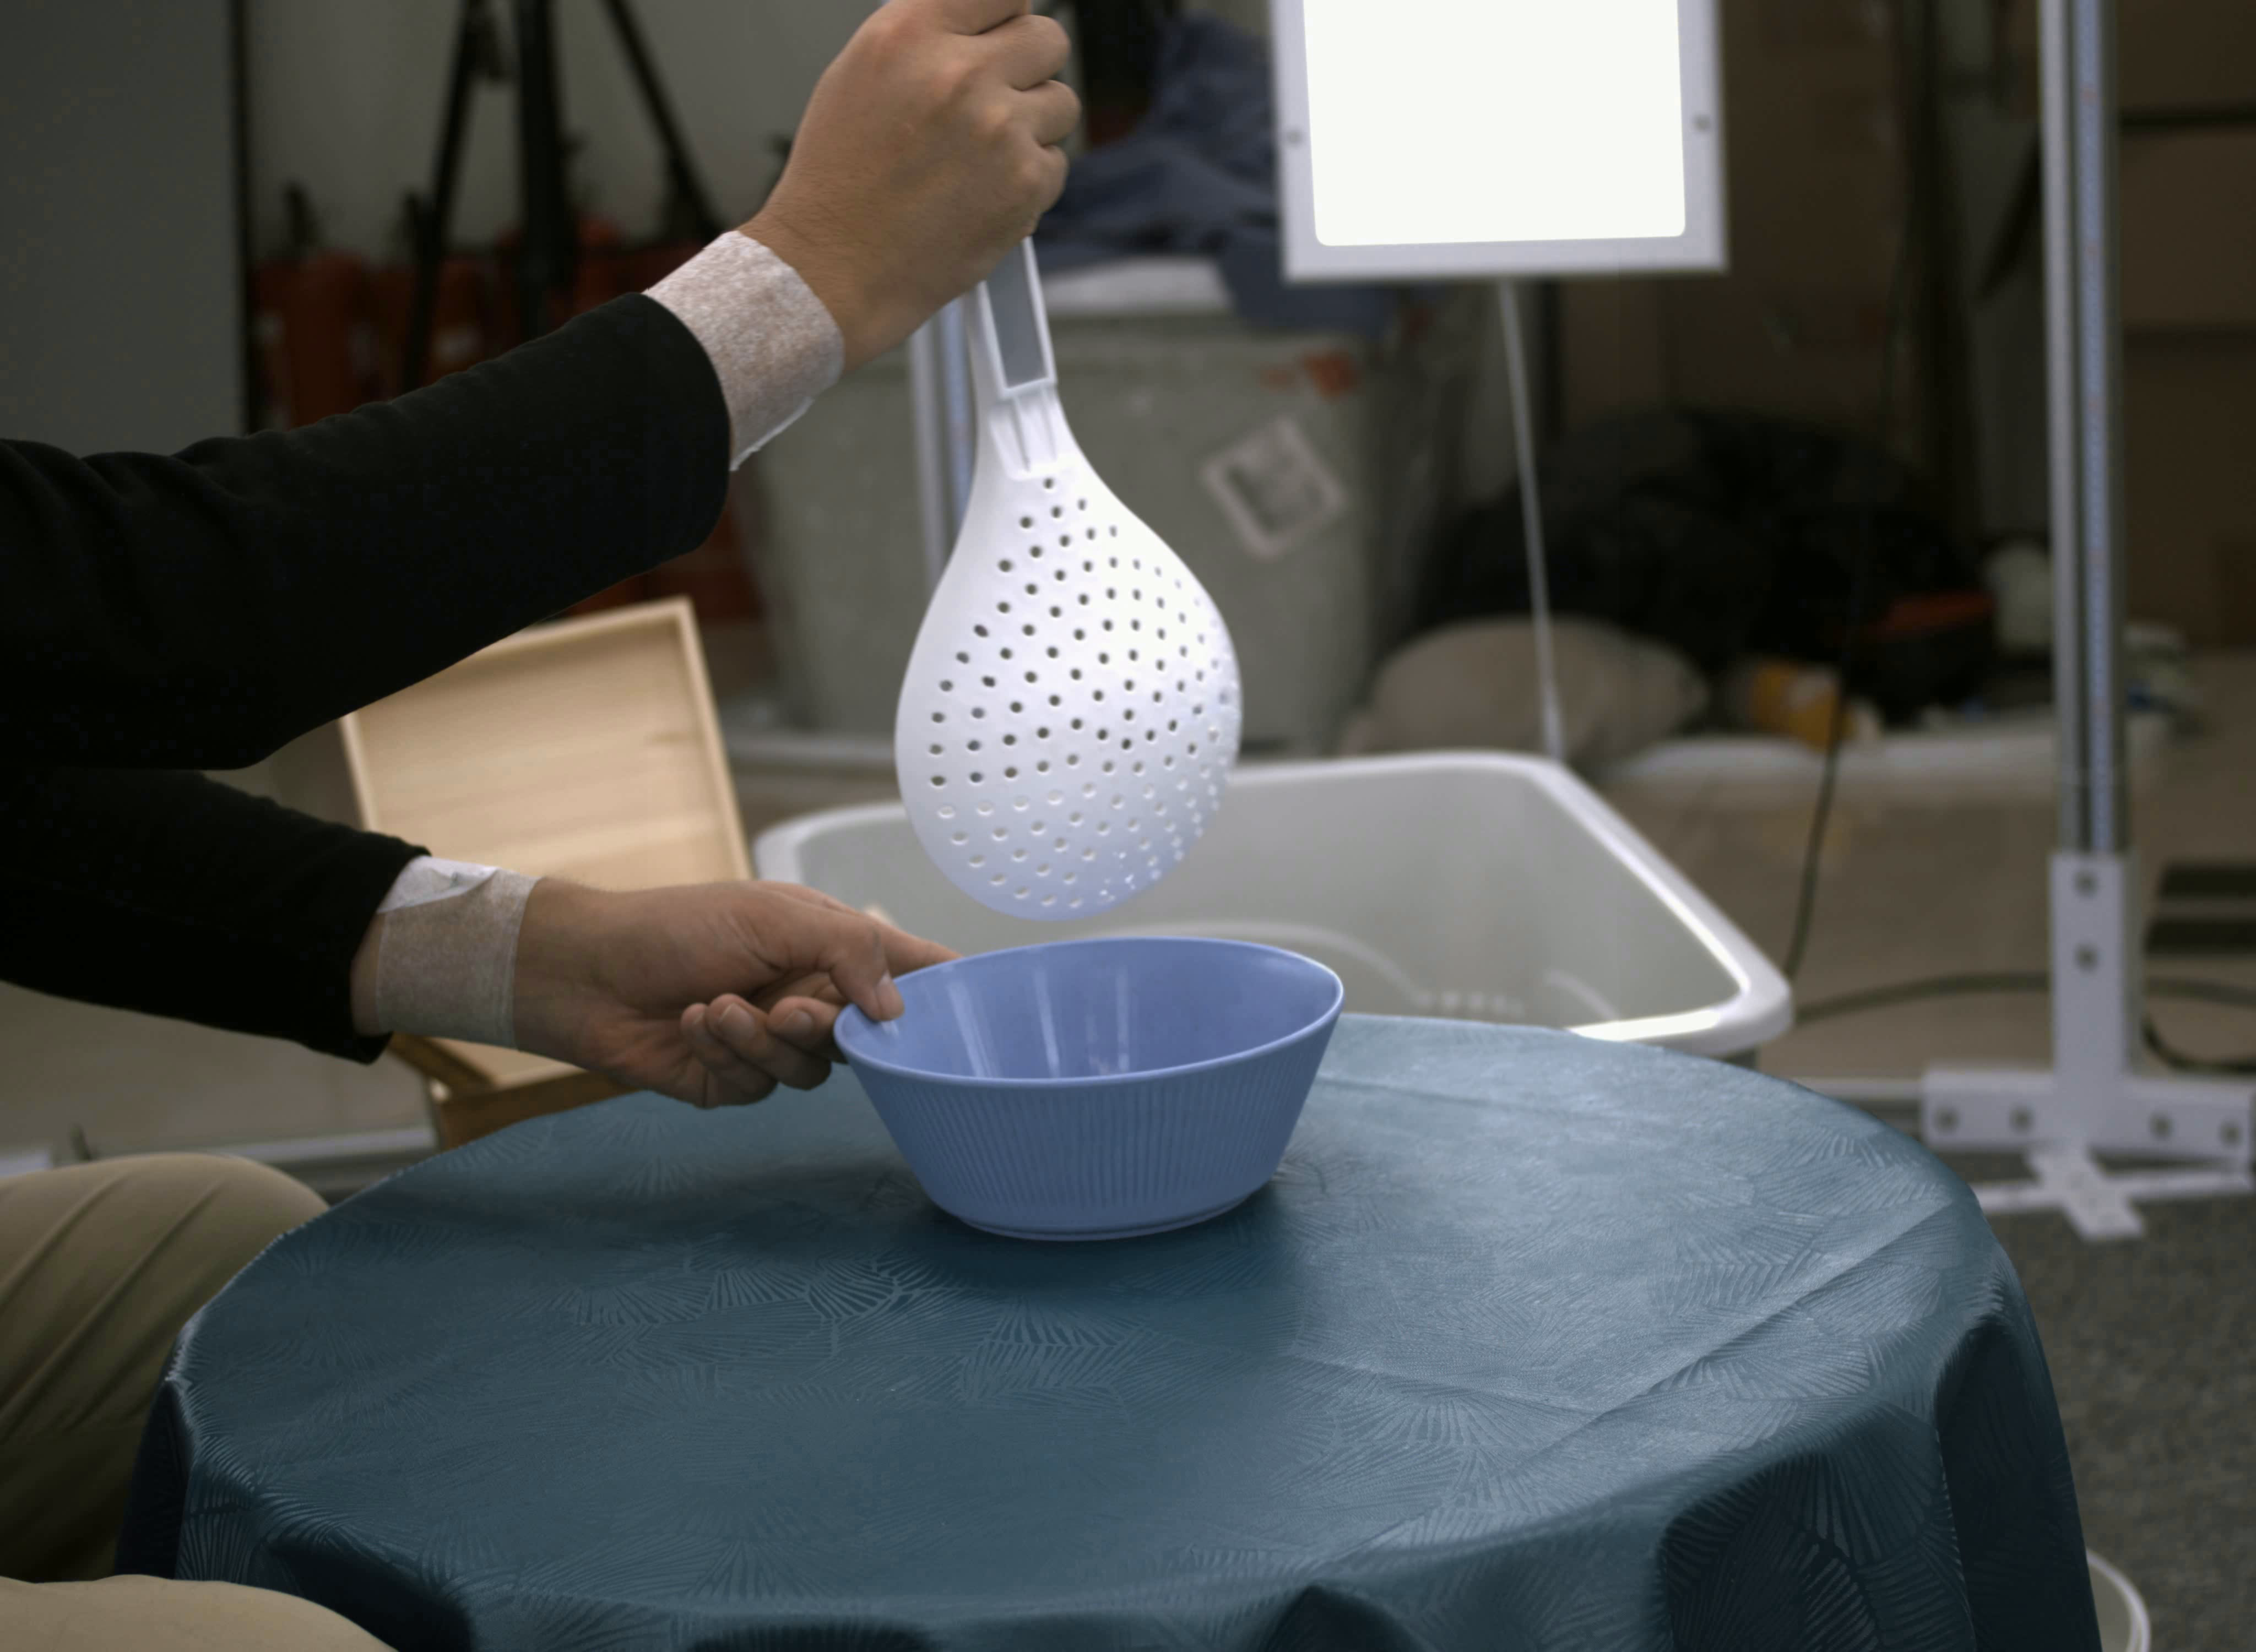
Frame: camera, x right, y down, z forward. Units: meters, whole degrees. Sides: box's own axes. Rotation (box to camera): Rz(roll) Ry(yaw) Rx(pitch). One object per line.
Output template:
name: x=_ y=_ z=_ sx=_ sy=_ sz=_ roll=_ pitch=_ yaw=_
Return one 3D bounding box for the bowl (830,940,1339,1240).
bowl: x=-0.012 y=0.093 z=1.892 sx=0.175 sy=0.070 sz=0.176 roll=-6 pitch=14 yaw=0

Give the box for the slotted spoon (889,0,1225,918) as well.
slotted spoon: x=-0.038 y=-0.135 z=1.854 sx=0.133 sy=0.350 sz=0.046 roll=-19 pitch=15 yaw=-25
